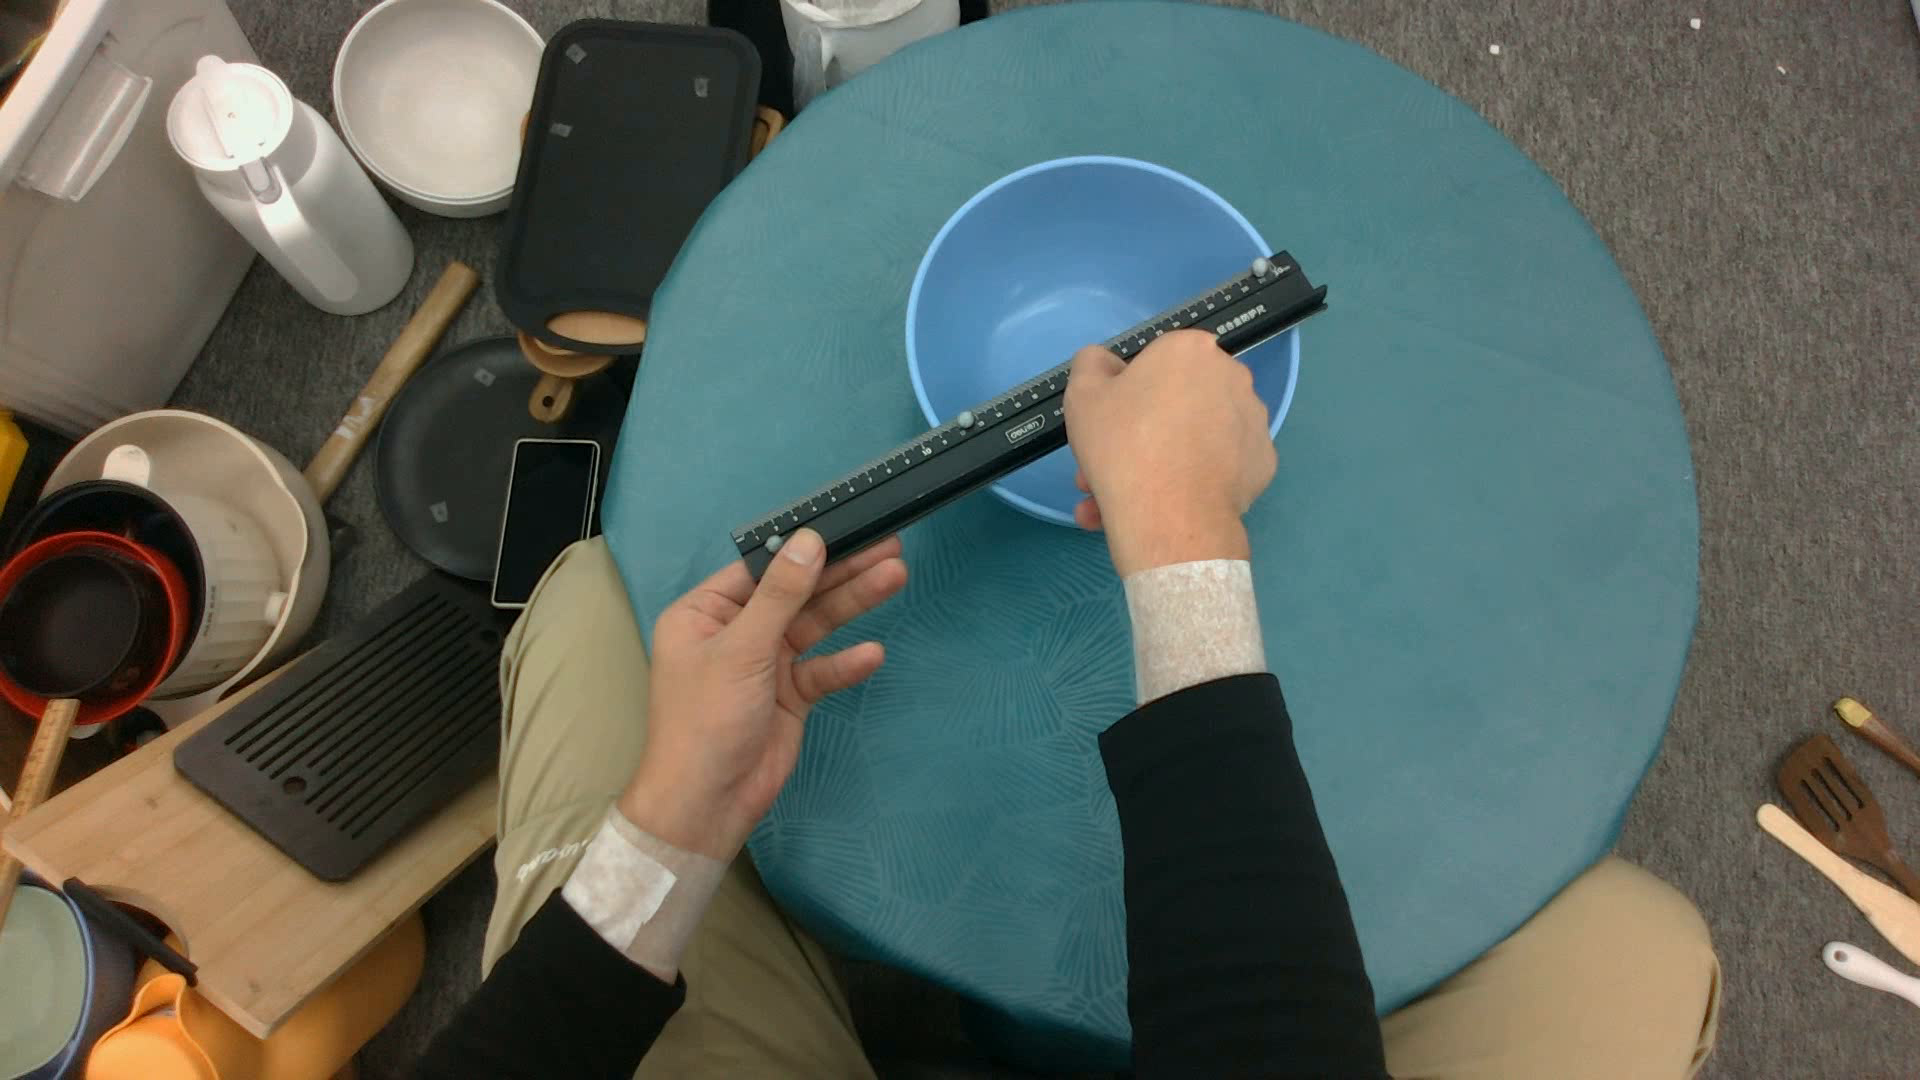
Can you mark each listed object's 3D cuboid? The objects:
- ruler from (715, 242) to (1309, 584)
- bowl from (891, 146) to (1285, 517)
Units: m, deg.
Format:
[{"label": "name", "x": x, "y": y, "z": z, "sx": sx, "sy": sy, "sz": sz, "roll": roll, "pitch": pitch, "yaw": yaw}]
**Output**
[{"label": "ruler", "x": 0.030, "y": -0.068, "z": 0.658, "sx": 0.313, "sy": 0.017, "sz": 0.039, "roll": -28, "pitch": 72, "yaw": -10}, {"label": "bowl", "x": 0.062, "y": -0.096, "z": 0.724, "sx": 0.196, "sy": 0.095, "sz": 0.197, "roll": 1, "pitch": 74, "yaw": -3}]
